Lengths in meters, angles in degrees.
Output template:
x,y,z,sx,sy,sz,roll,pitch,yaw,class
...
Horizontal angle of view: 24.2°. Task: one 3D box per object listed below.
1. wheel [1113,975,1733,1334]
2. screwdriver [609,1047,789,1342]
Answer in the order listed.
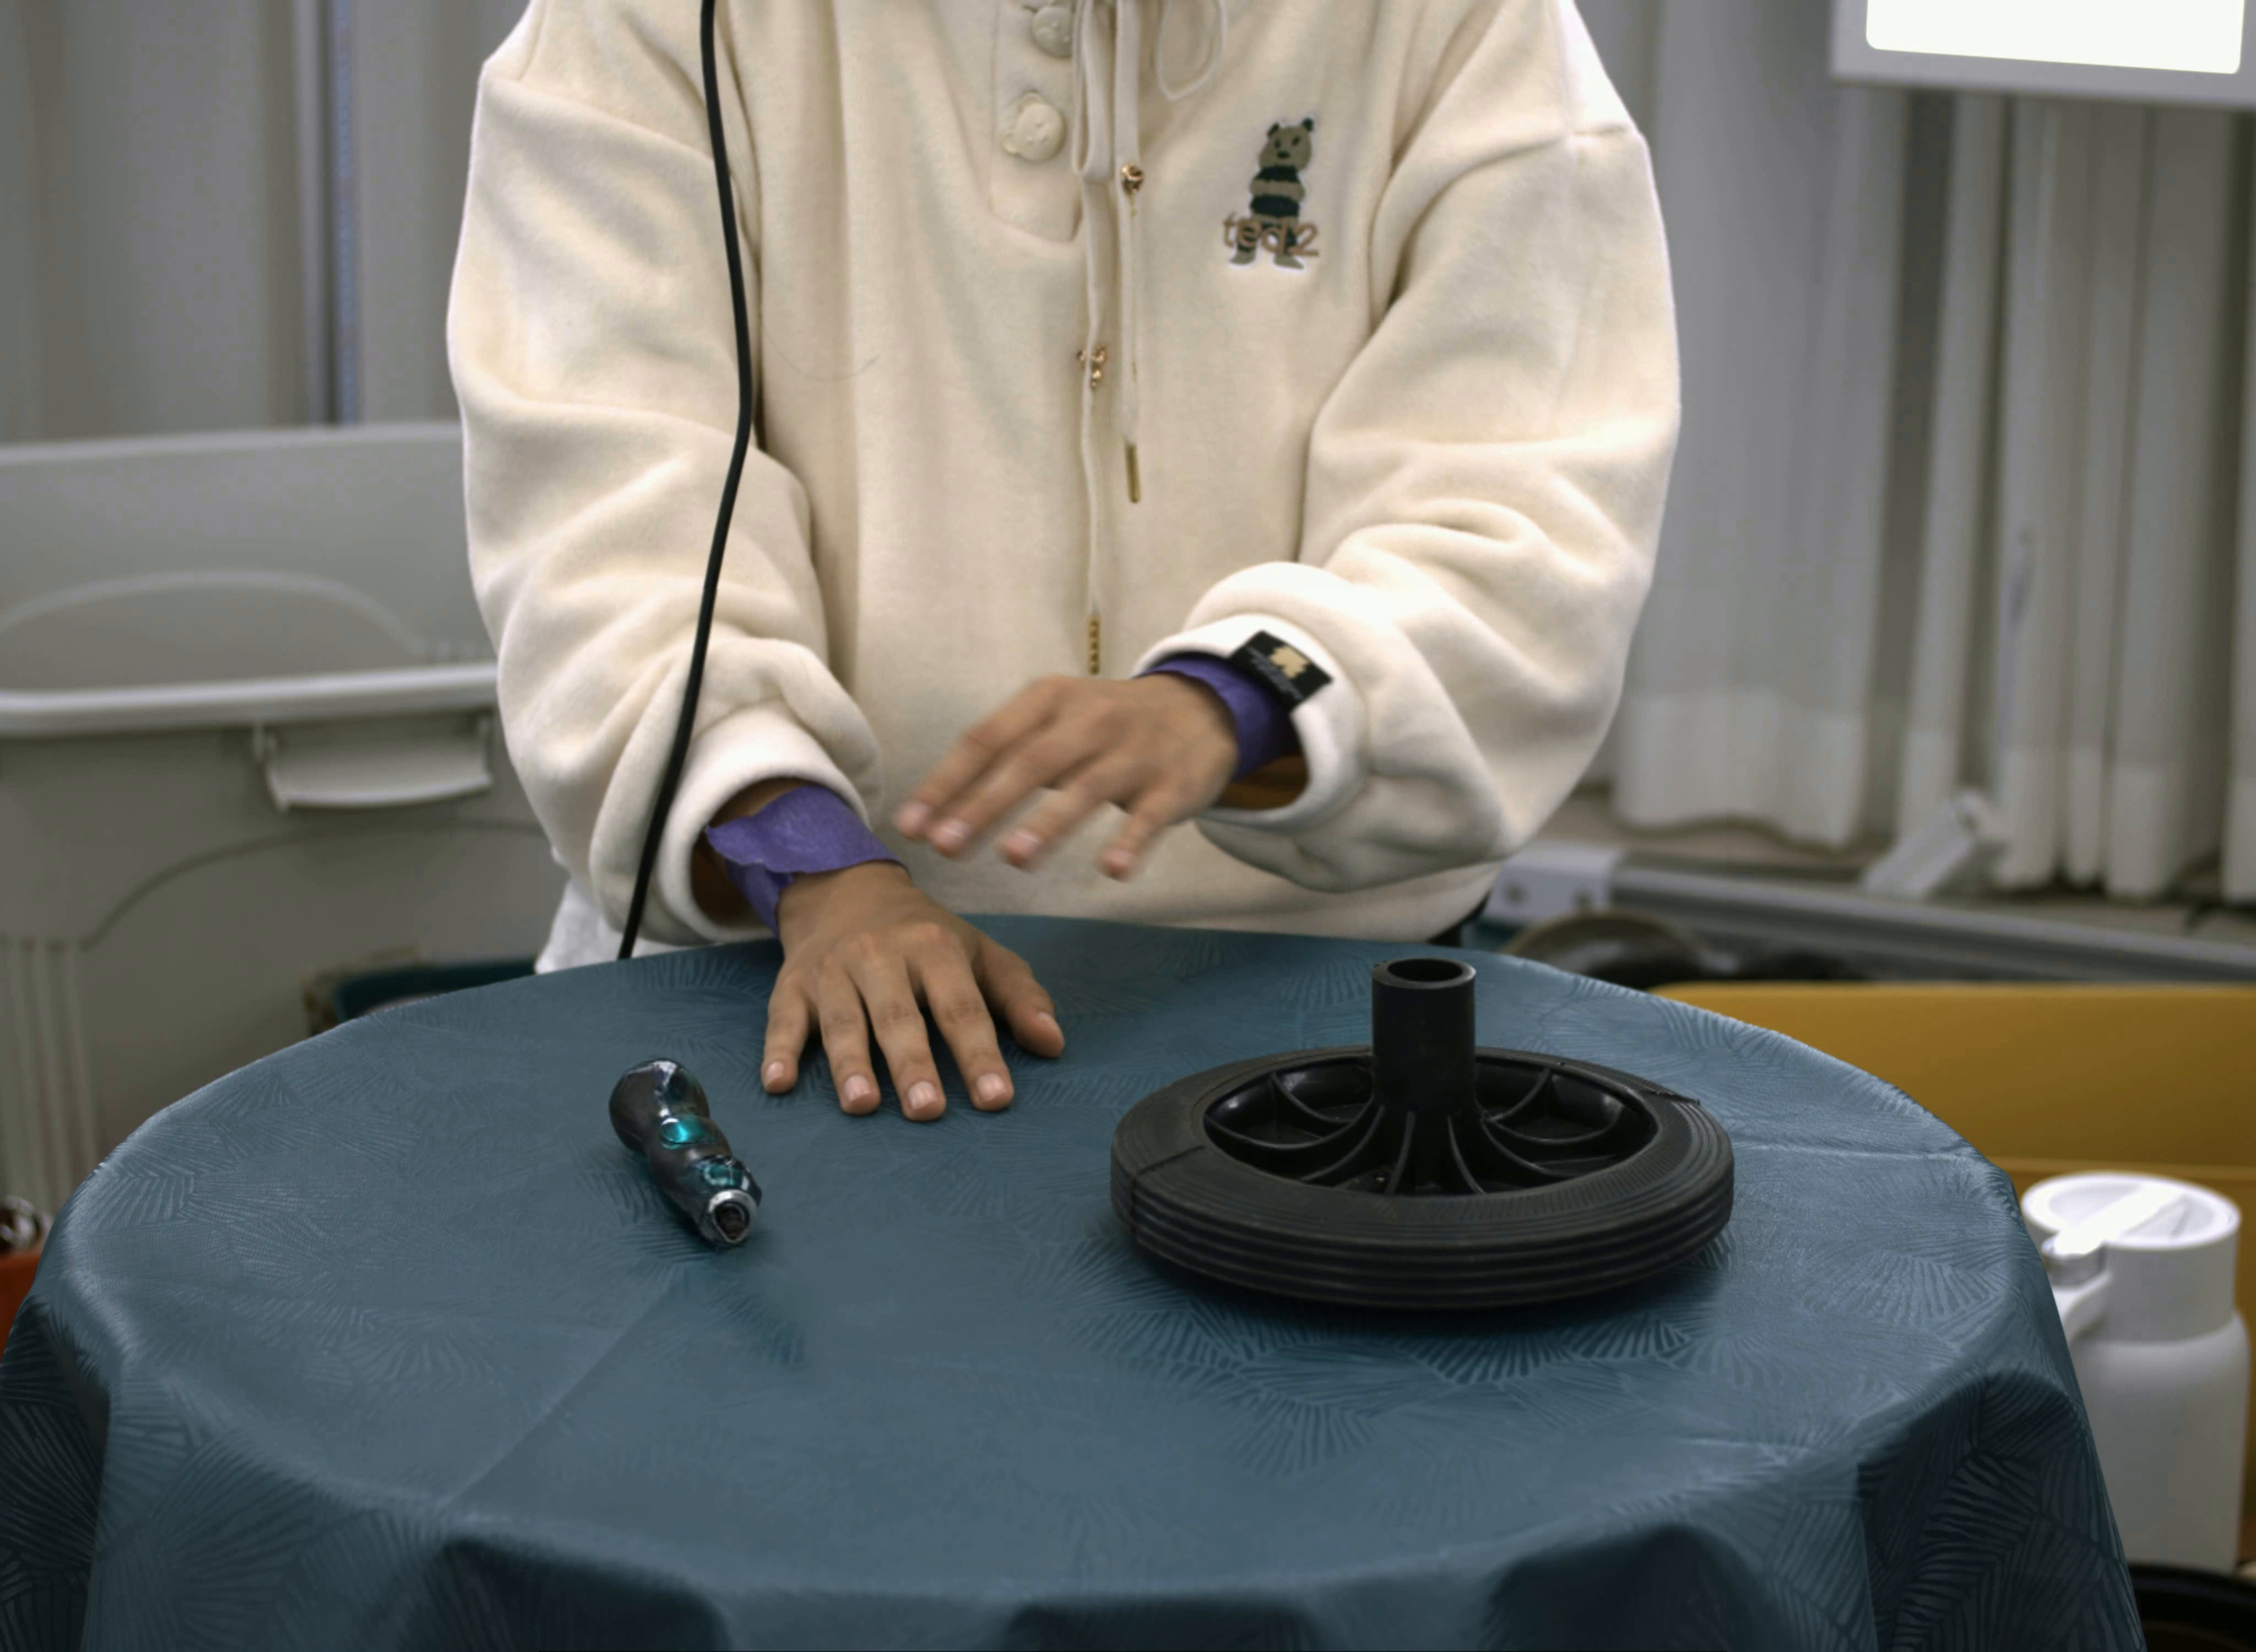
x,y,z,sx,sy,sz,roll,pitch,yaw,class
0.088,0.087,1.576,0.186,0.080,0.189,4,19,14,wheel
-0.125,0.113,1.577,0.034,0.034,0.188,-4,22,-17,screwdriver
